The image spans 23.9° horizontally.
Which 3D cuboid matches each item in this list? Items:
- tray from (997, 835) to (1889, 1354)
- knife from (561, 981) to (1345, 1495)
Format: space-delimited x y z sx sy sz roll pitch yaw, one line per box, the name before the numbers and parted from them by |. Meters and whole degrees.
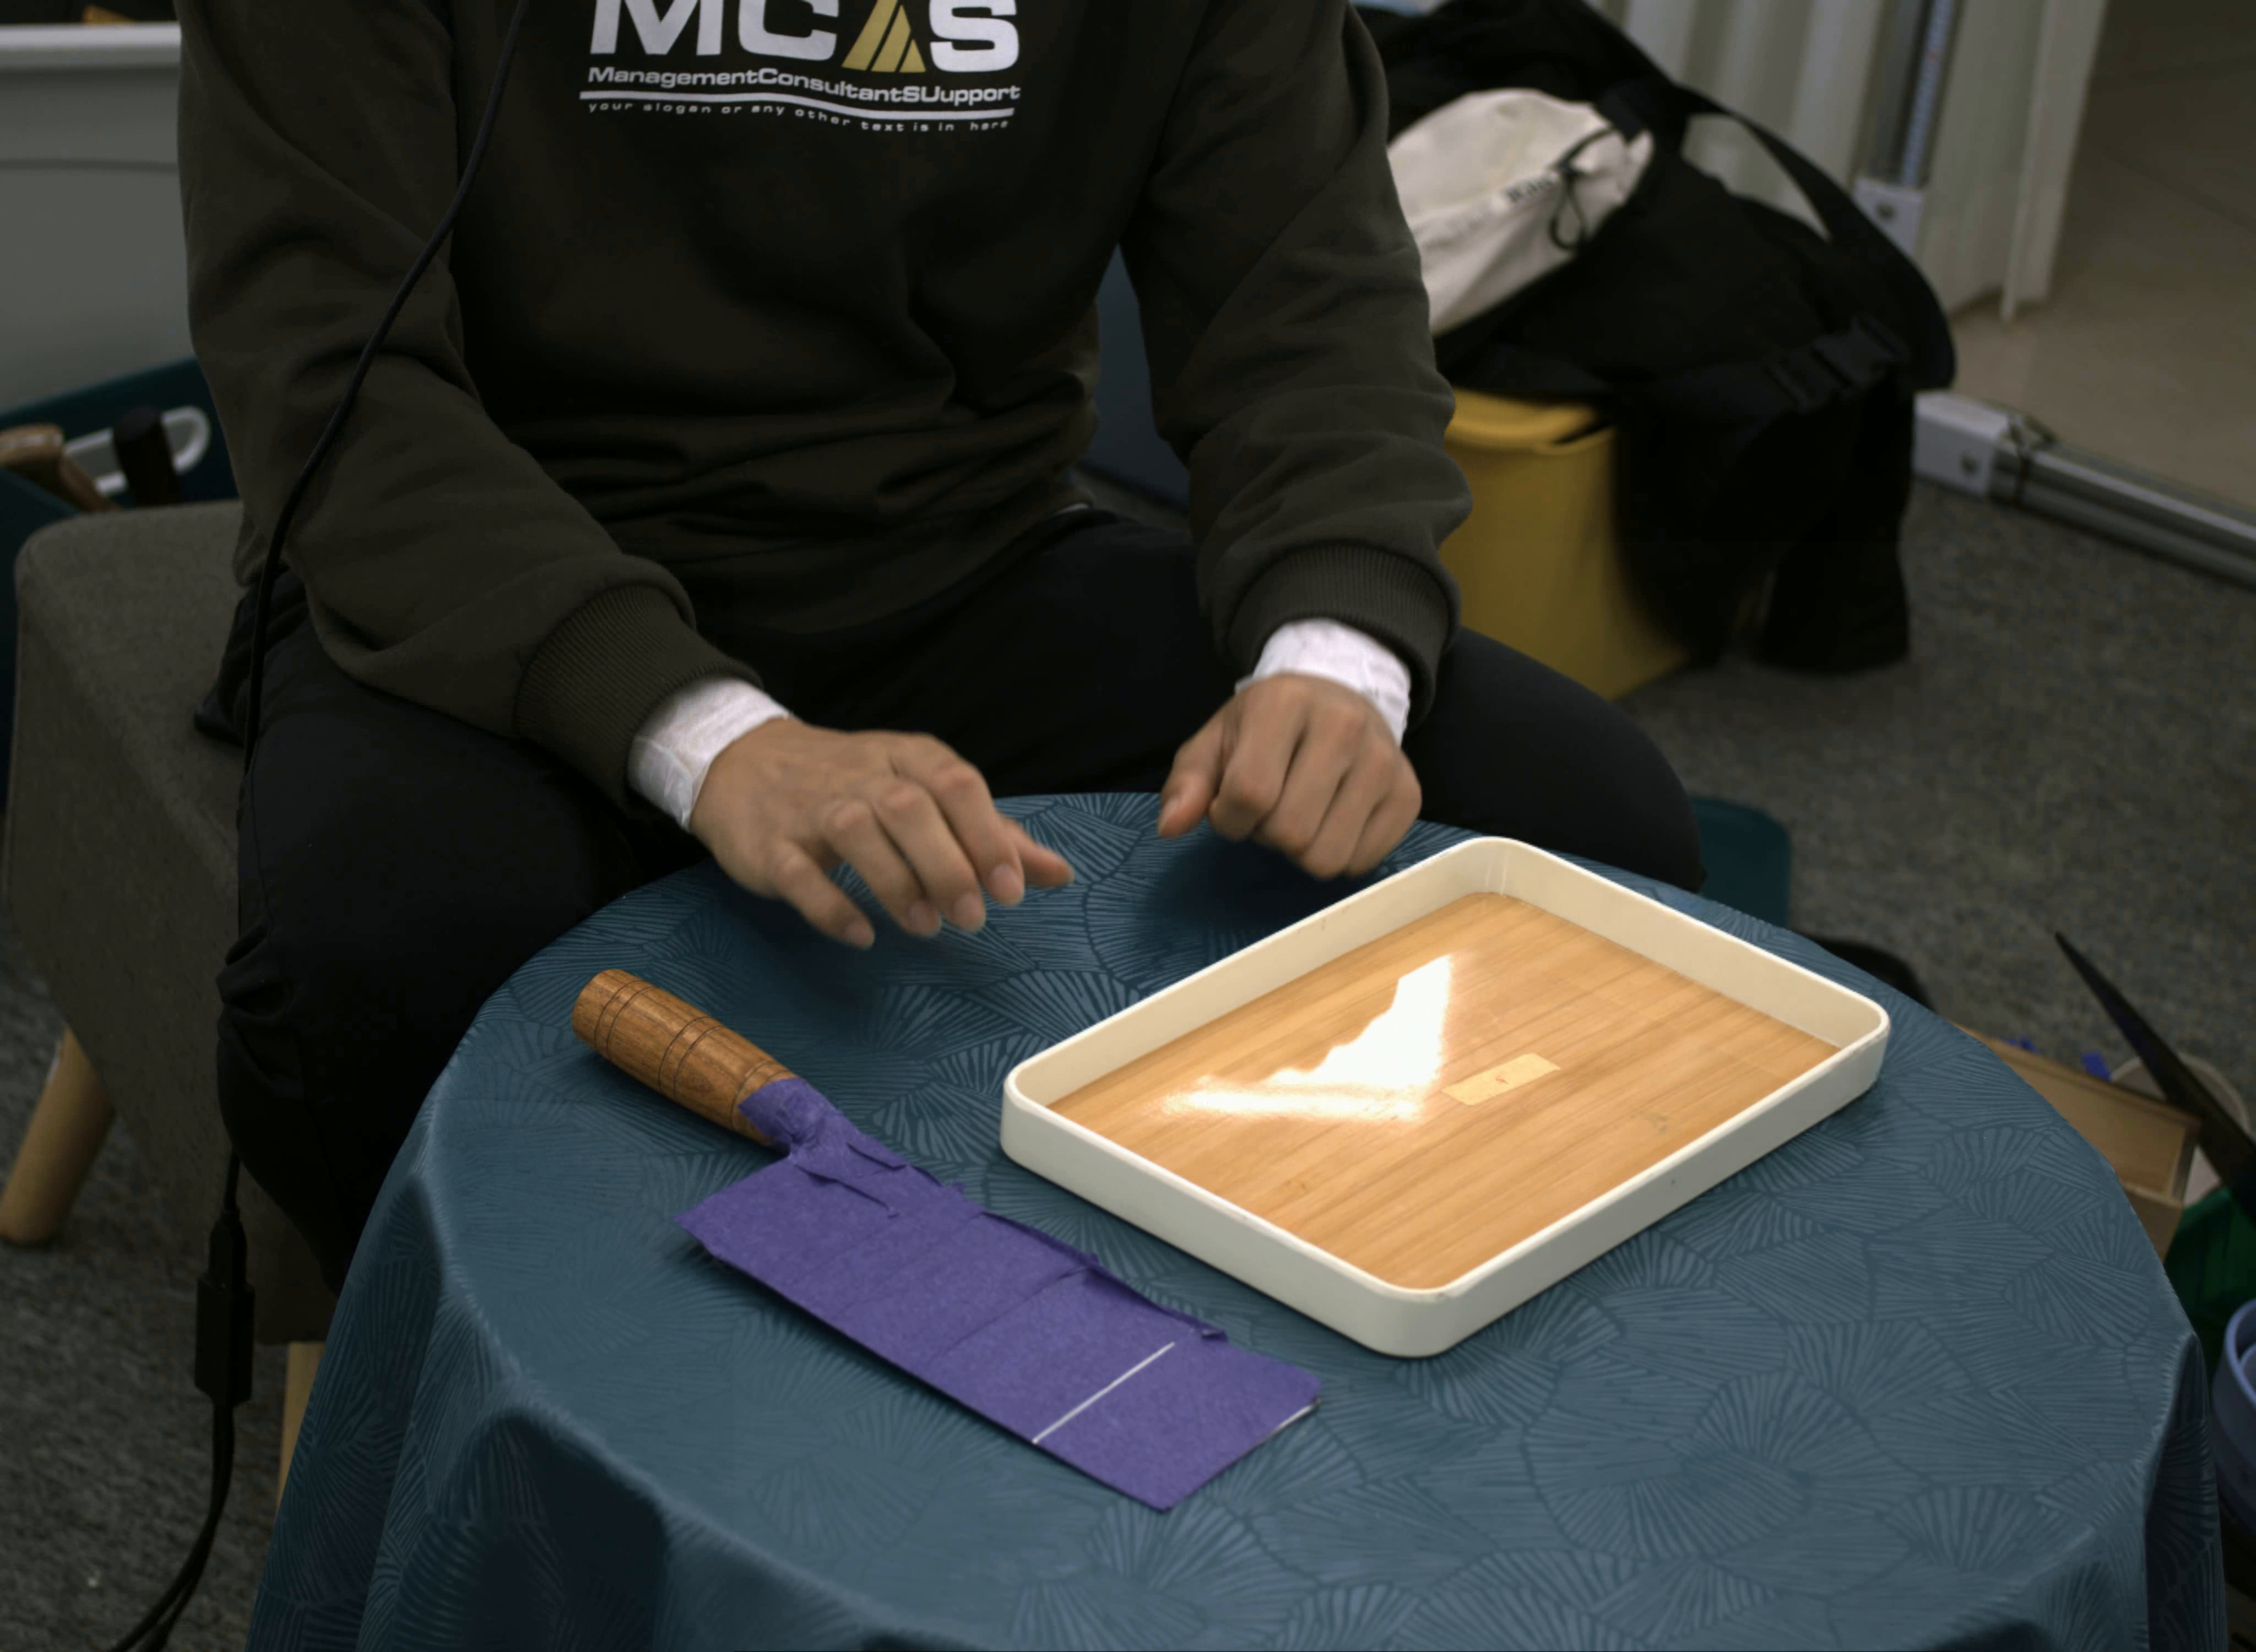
tray | 0.114 0.088 1.871 0.193 0.027 0.299 25 32 33
knife | -0.082 0.132 1.741 0.317 0.032 0.103 24 31 30
